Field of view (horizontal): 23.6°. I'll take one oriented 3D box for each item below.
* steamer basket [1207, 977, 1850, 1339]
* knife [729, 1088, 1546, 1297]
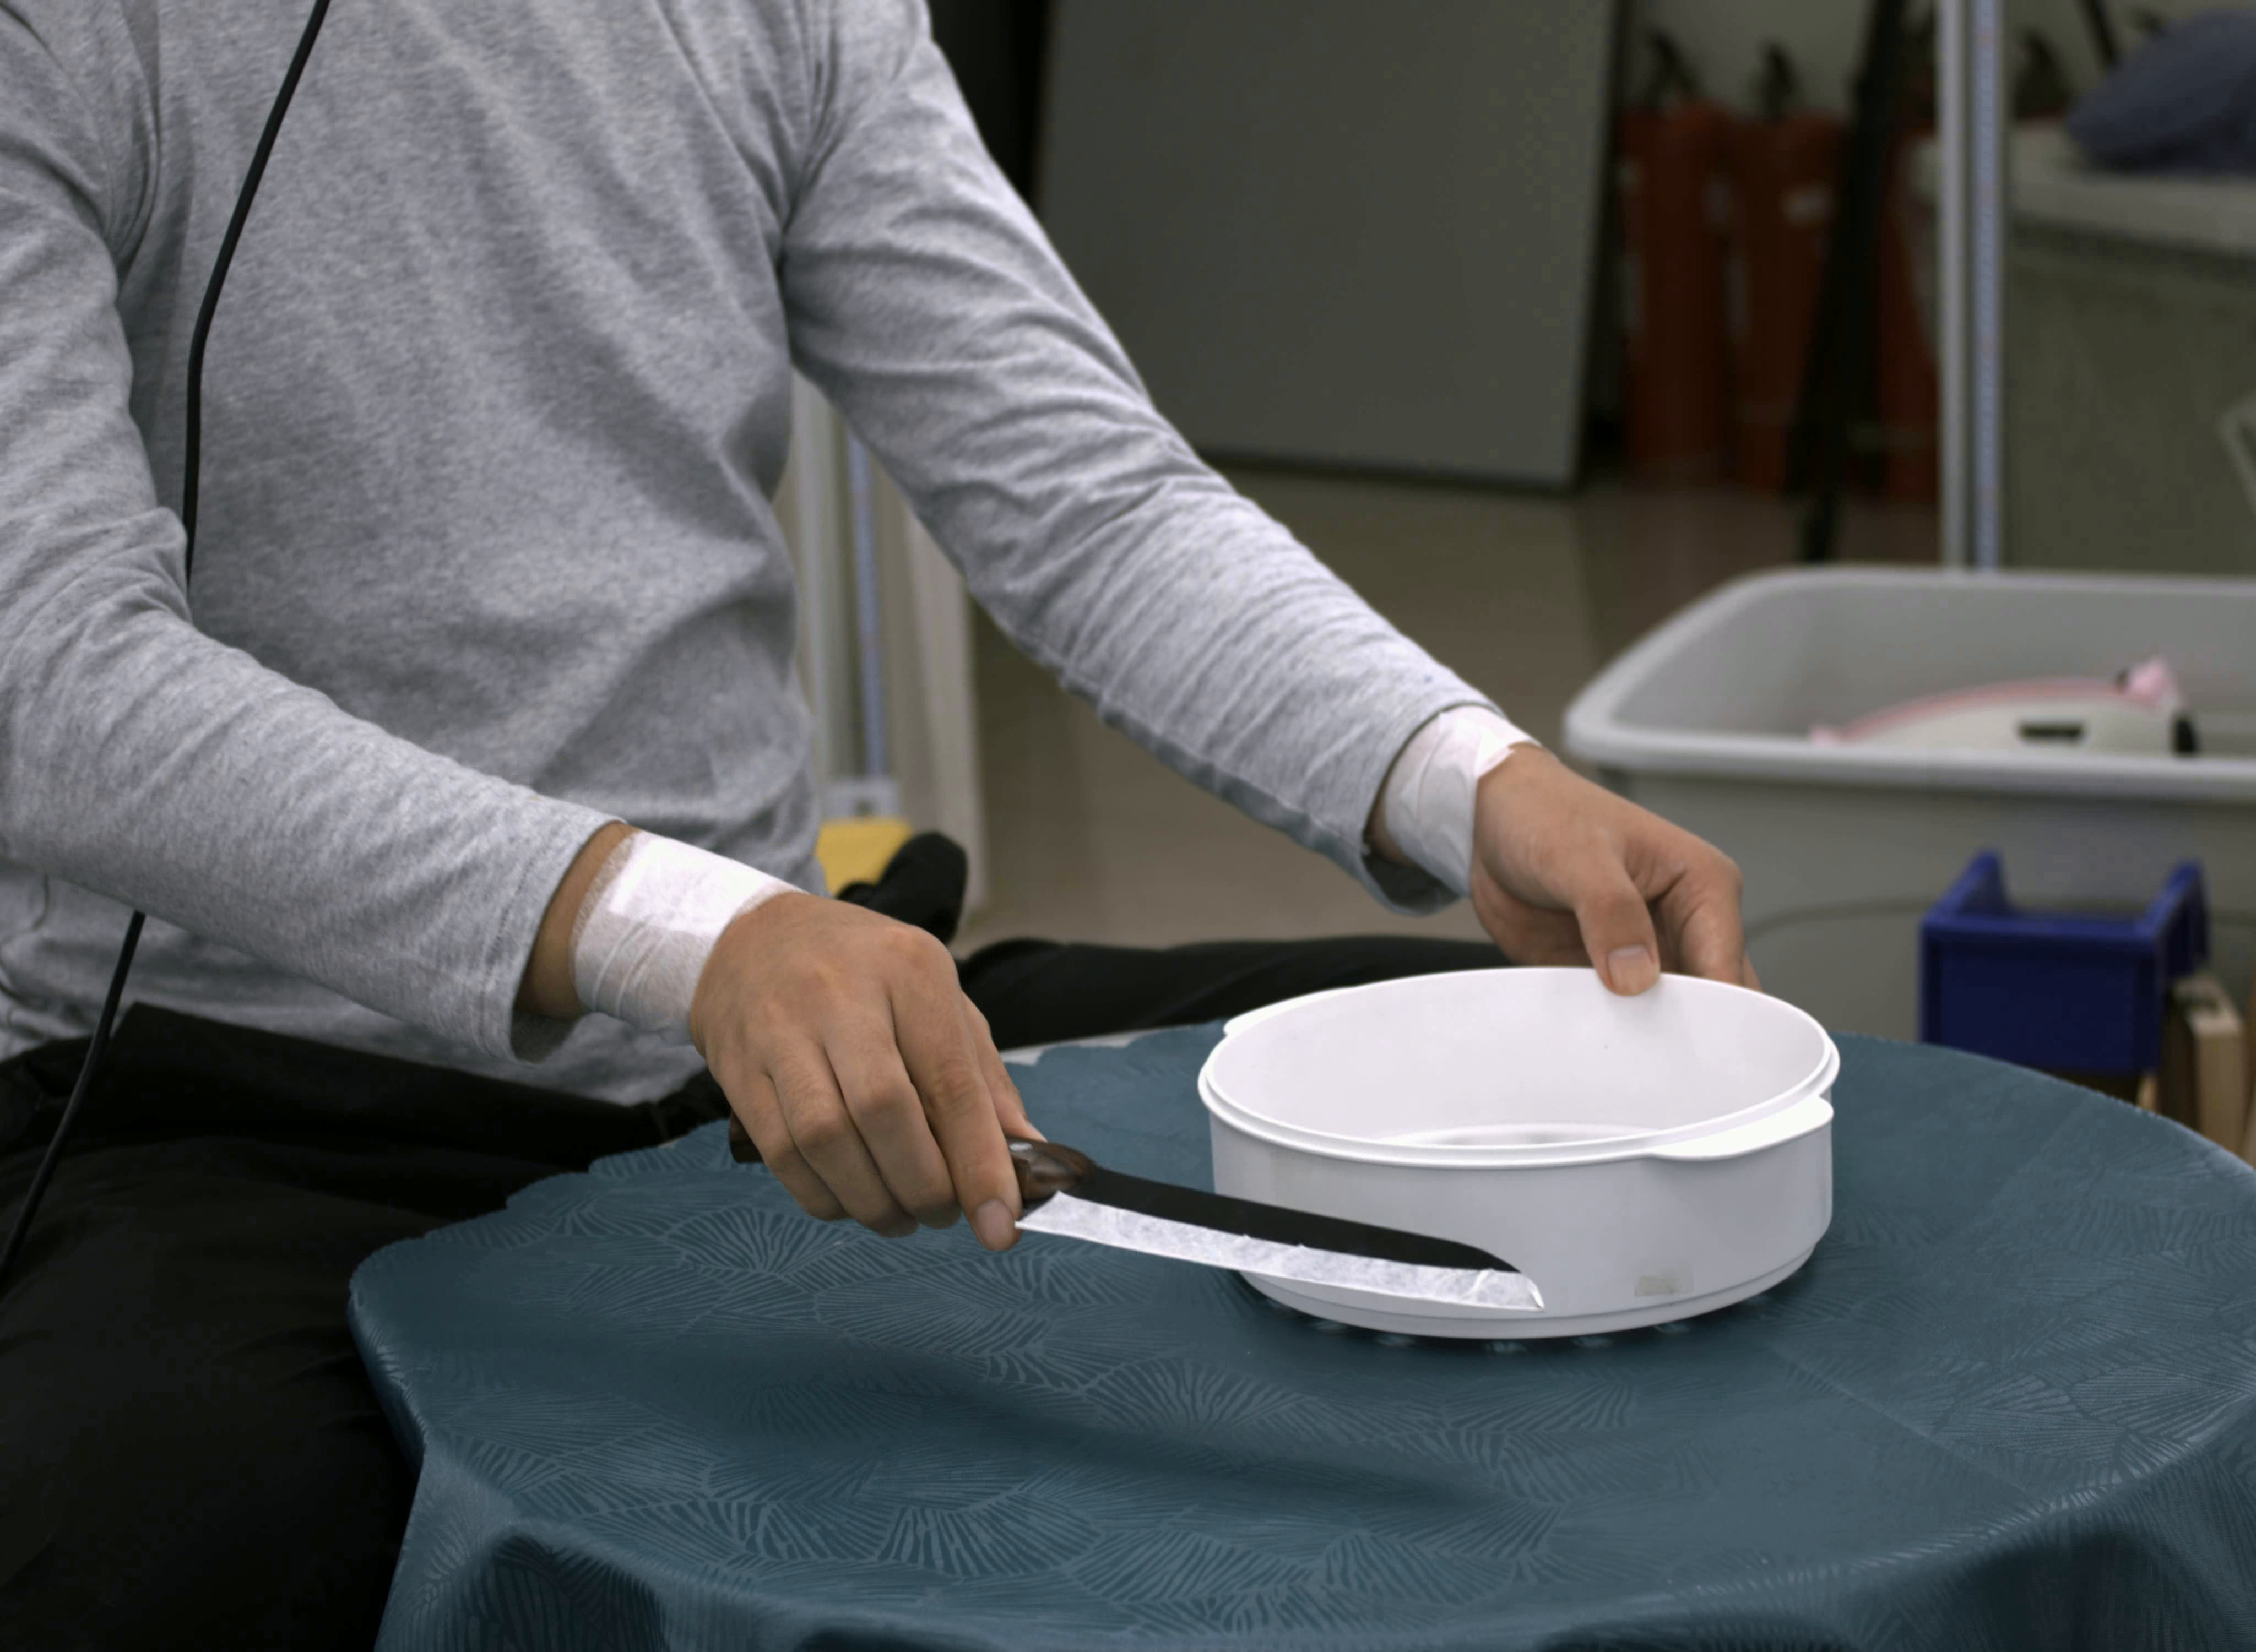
[{"bbox_3d":[0.125,0.103,1.671,0.197,0.070,0.233,-13,15,-37],"label":"steamer basket"},{"bbox_3d":[-0.003,0.108,1.557,0.291,0.020,0.049,9,25,35],"label":"knife"}]
